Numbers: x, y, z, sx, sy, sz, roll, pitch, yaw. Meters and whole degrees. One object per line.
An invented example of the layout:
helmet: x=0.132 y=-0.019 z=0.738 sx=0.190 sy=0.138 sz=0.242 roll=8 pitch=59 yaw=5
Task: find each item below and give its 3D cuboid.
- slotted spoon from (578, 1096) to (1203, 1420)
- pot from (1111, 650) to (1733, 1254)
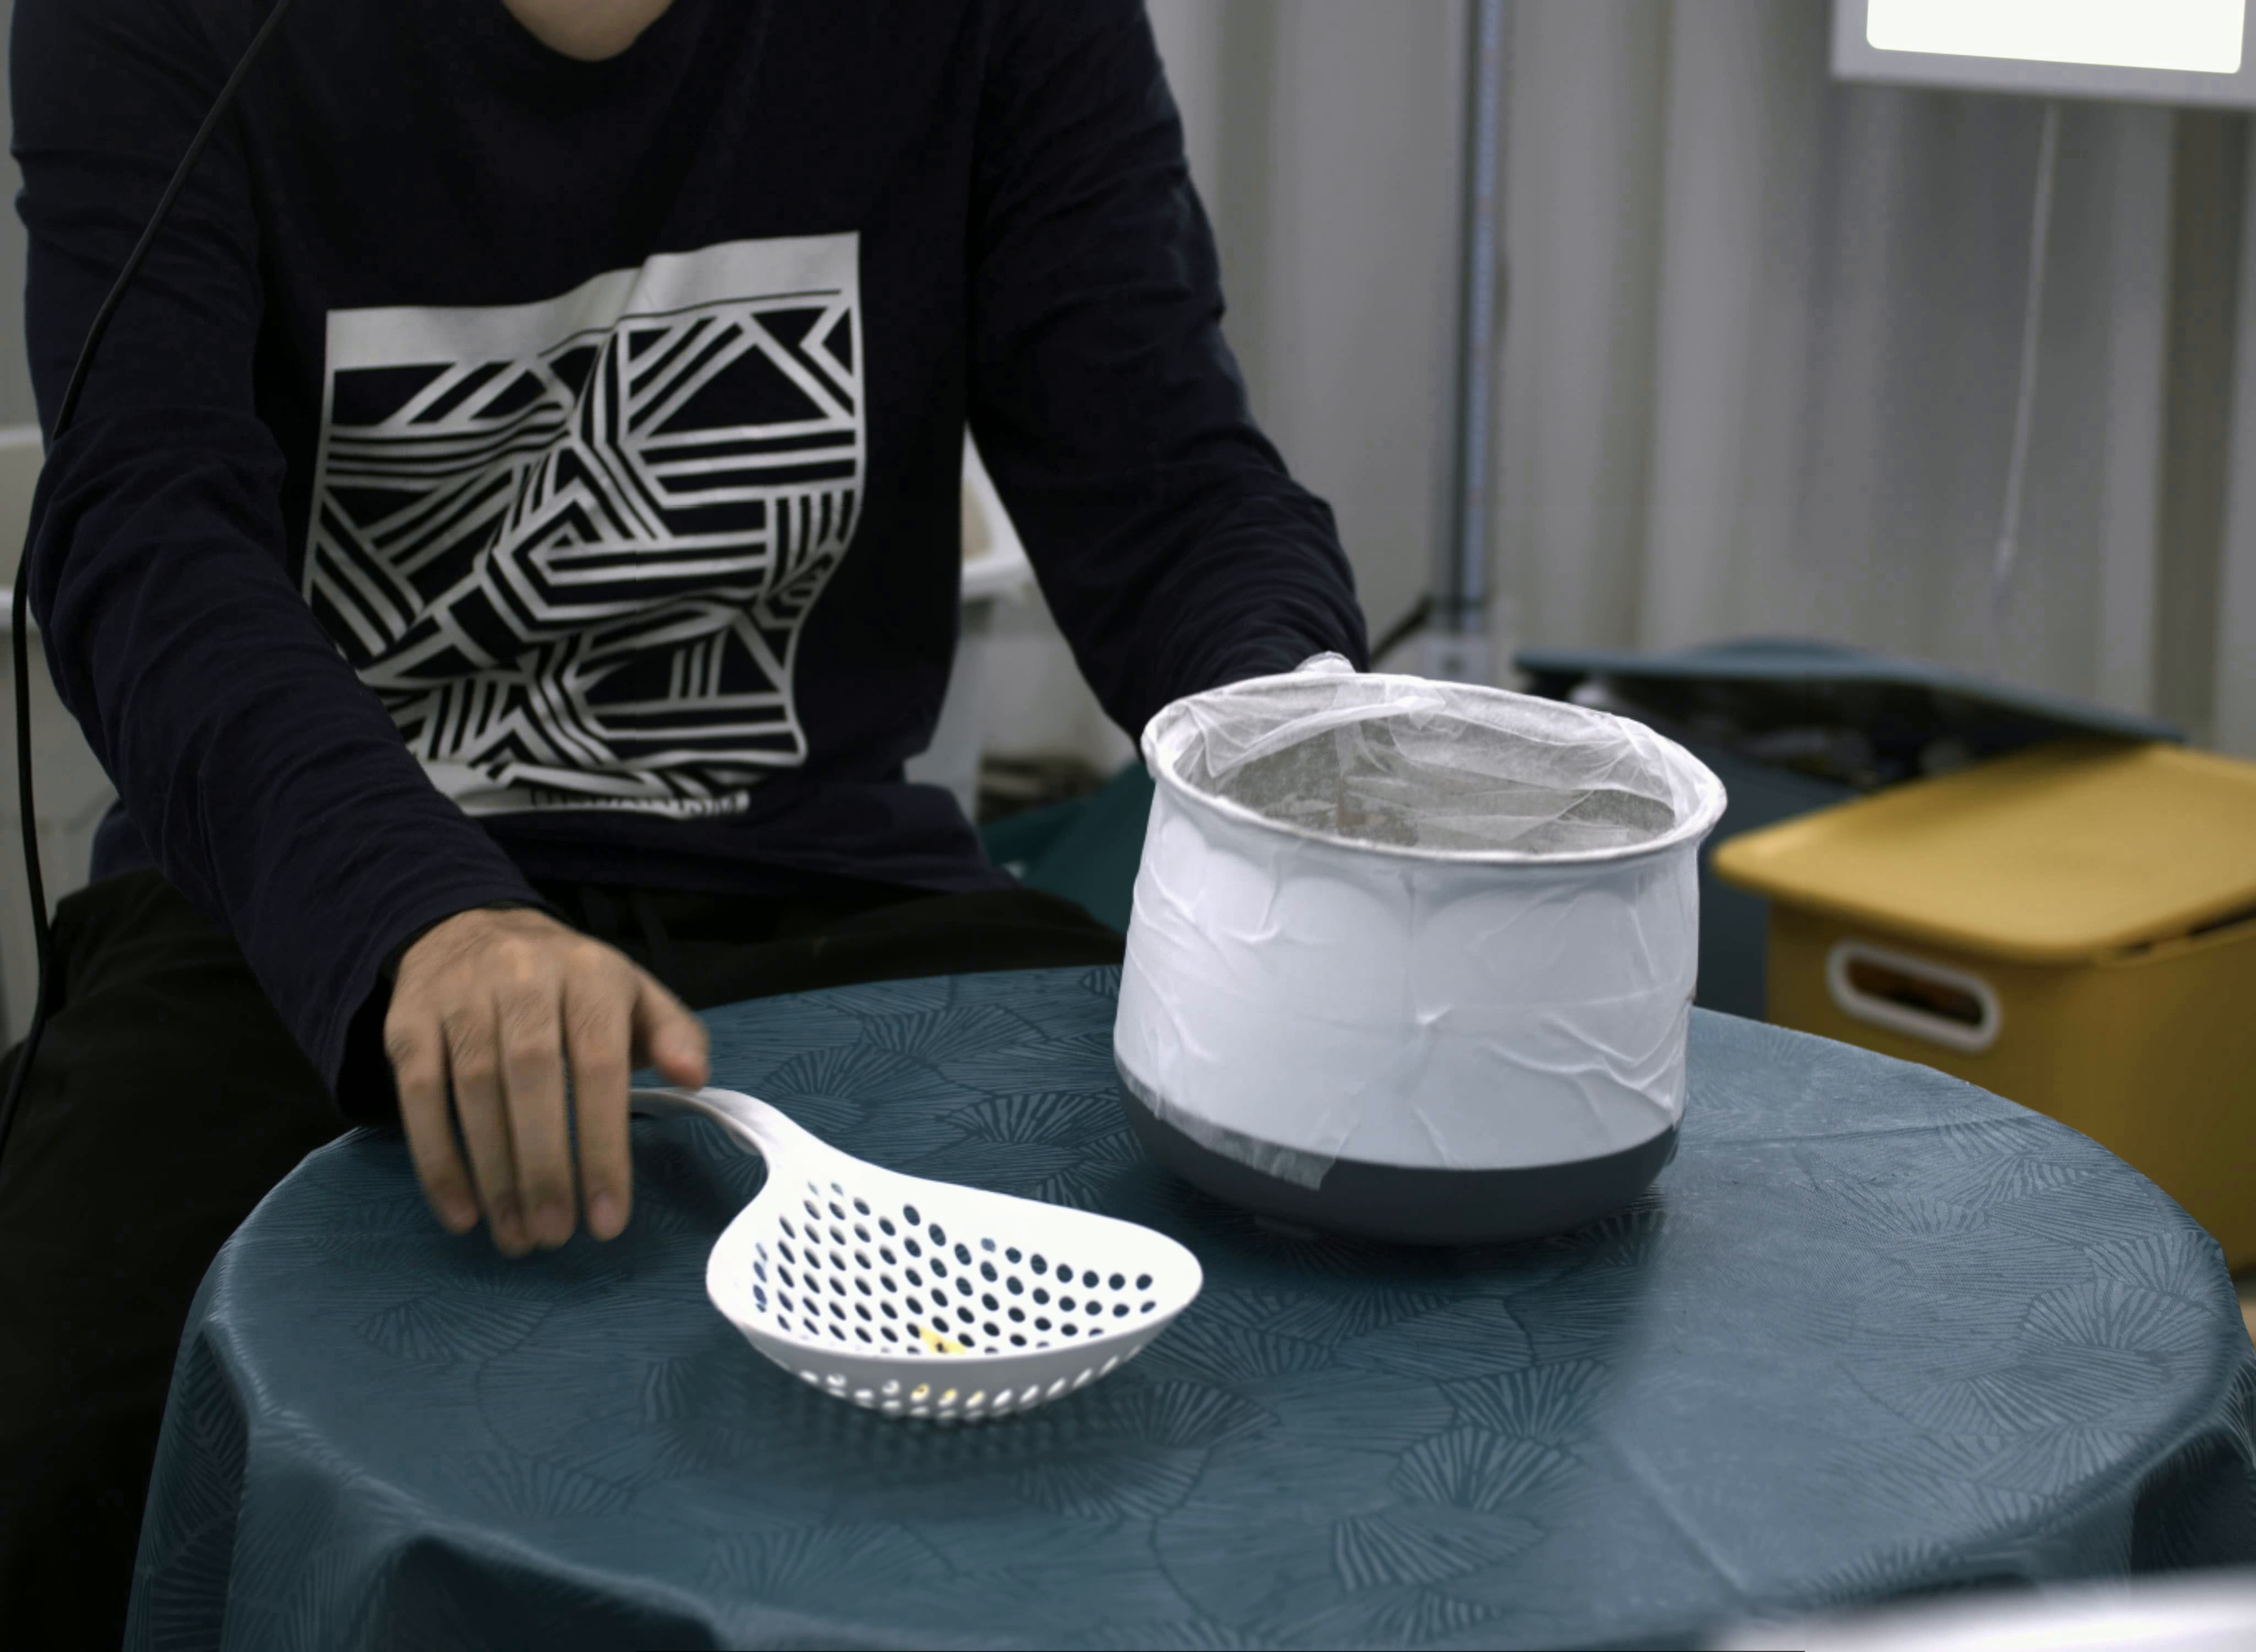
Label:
slotted spoon: x=-0.093 y=0.112 z=1.541 sx=0.137 sy=0.051 sz=0.343 roll=-7 pitch=18 yaw=-23
pot: x=0.078 y=0.033 z=1.622 sx=0.179 sy=0.138 sz=0.231 roll=1 pitch=20 yaw=-19
